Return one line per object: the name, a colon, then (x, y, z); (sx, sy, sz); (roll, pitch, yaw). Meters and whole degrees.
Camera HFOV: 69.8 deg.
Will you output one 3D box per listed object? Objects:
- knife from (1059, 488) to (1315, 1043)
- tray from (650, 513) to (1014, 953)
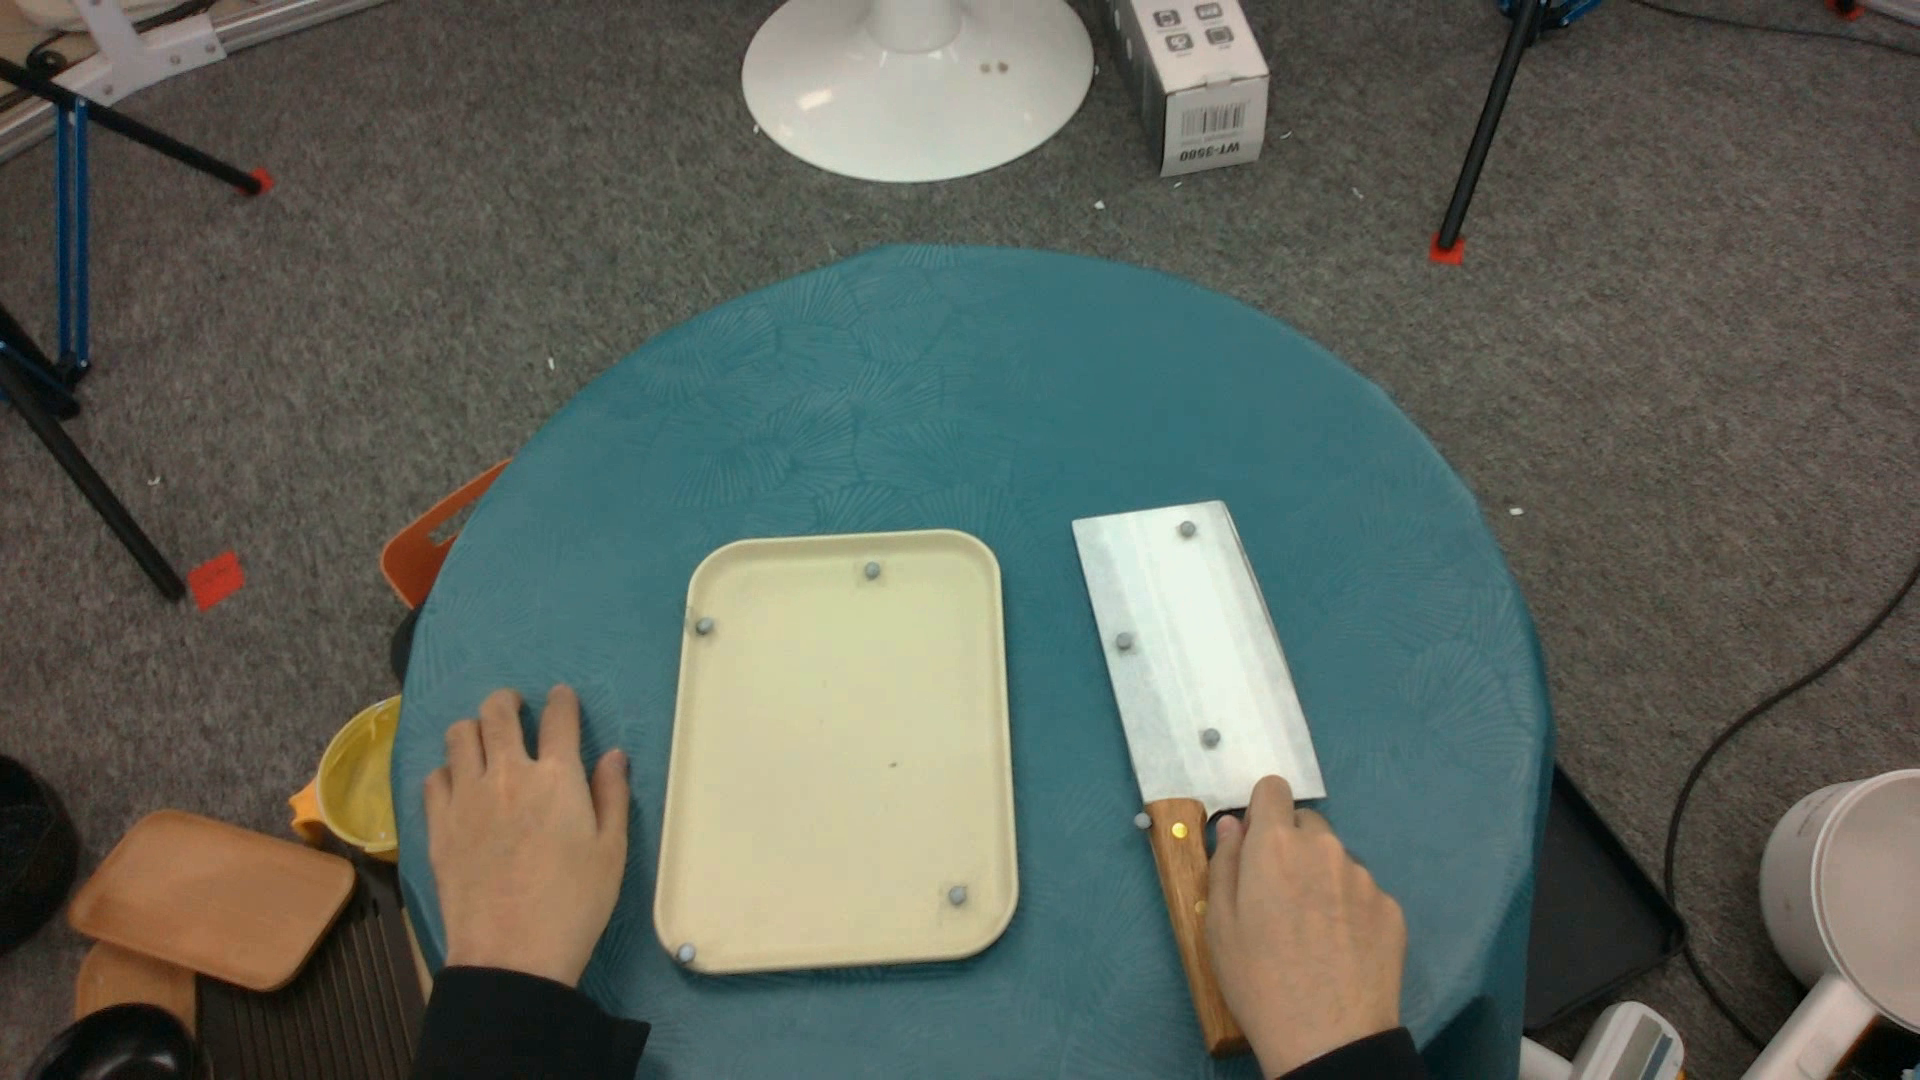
knife: (0.123, 0.092, 0.690); (0.093, 0.021, 0.307); (-8, 52, -6)
tray: (-0.064, 0.089, 0.696); (0.171, 0.017, 0.240); (-3, 54, -1)
